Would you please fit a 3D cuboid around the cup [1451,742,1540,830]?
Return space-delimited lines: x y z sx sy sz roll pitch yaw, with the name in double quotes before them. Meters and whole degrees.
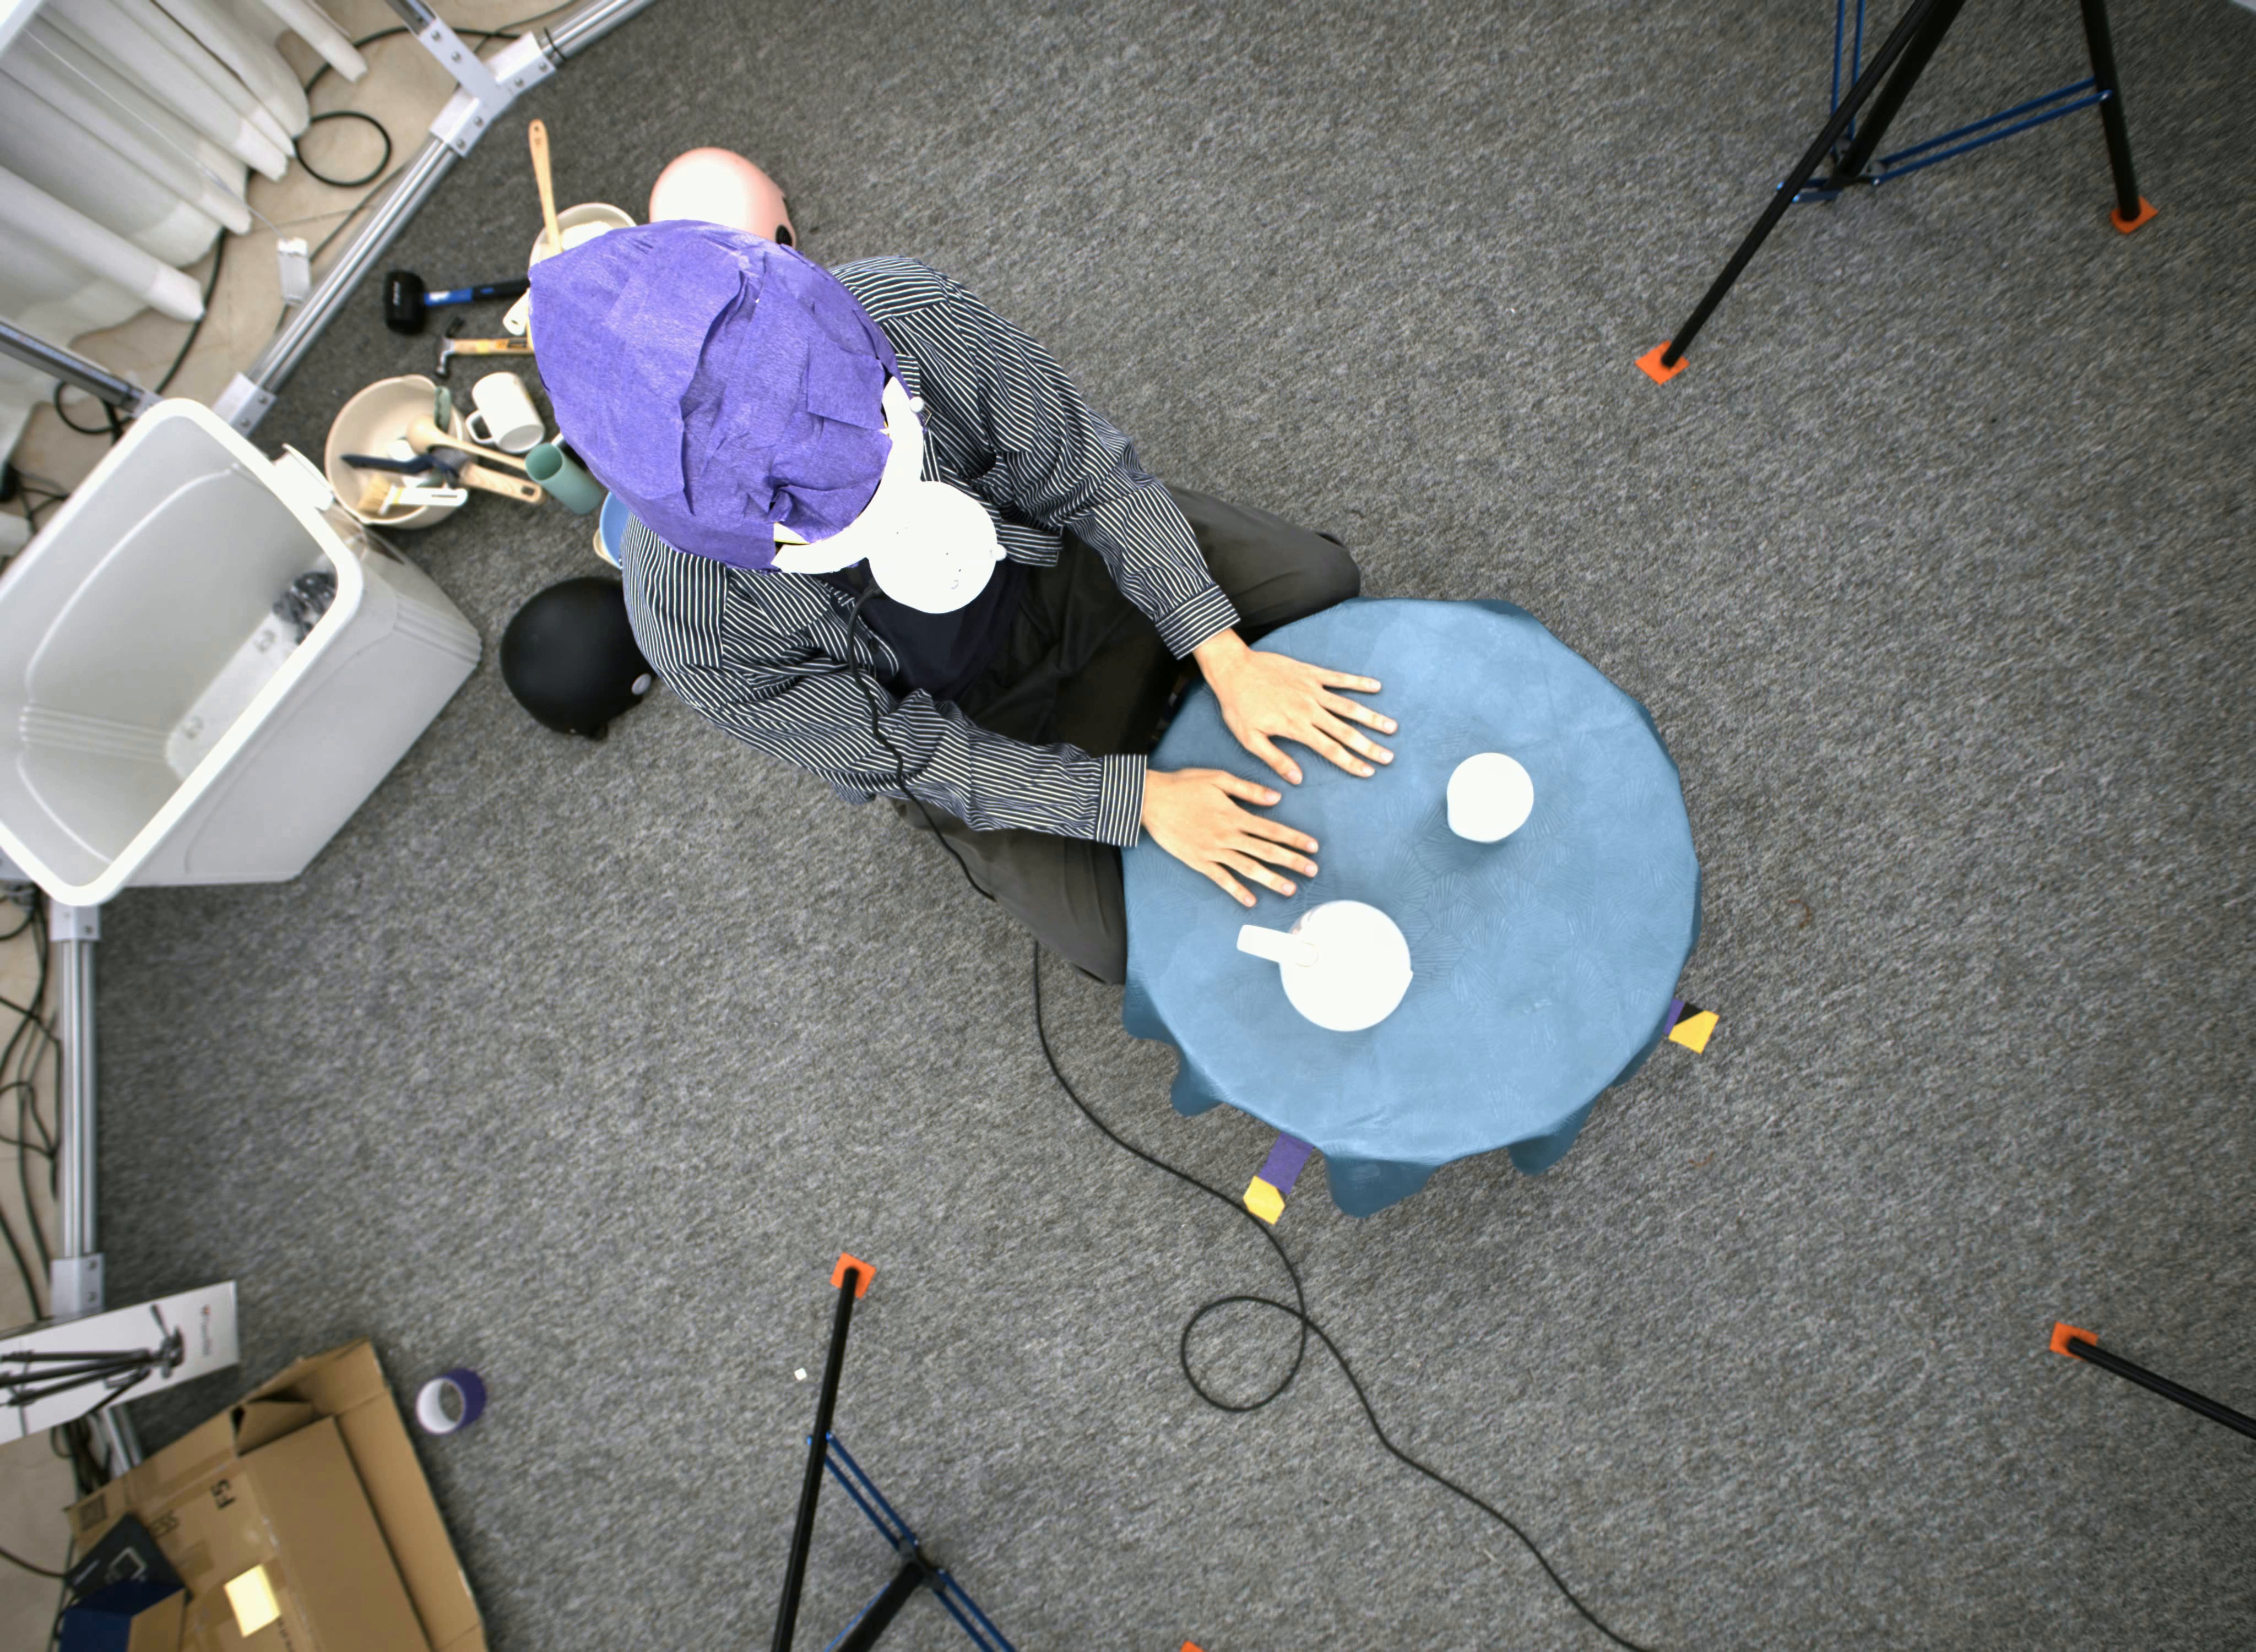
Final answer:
"cup" 0.362 -0.038 1.370 0.082 0.125 0.081 -1 86 10

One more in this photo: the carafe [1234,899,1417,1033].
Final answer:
"carafe" 0.187 0.134 1.330 0.168 0.248 0.132 8 89 8
